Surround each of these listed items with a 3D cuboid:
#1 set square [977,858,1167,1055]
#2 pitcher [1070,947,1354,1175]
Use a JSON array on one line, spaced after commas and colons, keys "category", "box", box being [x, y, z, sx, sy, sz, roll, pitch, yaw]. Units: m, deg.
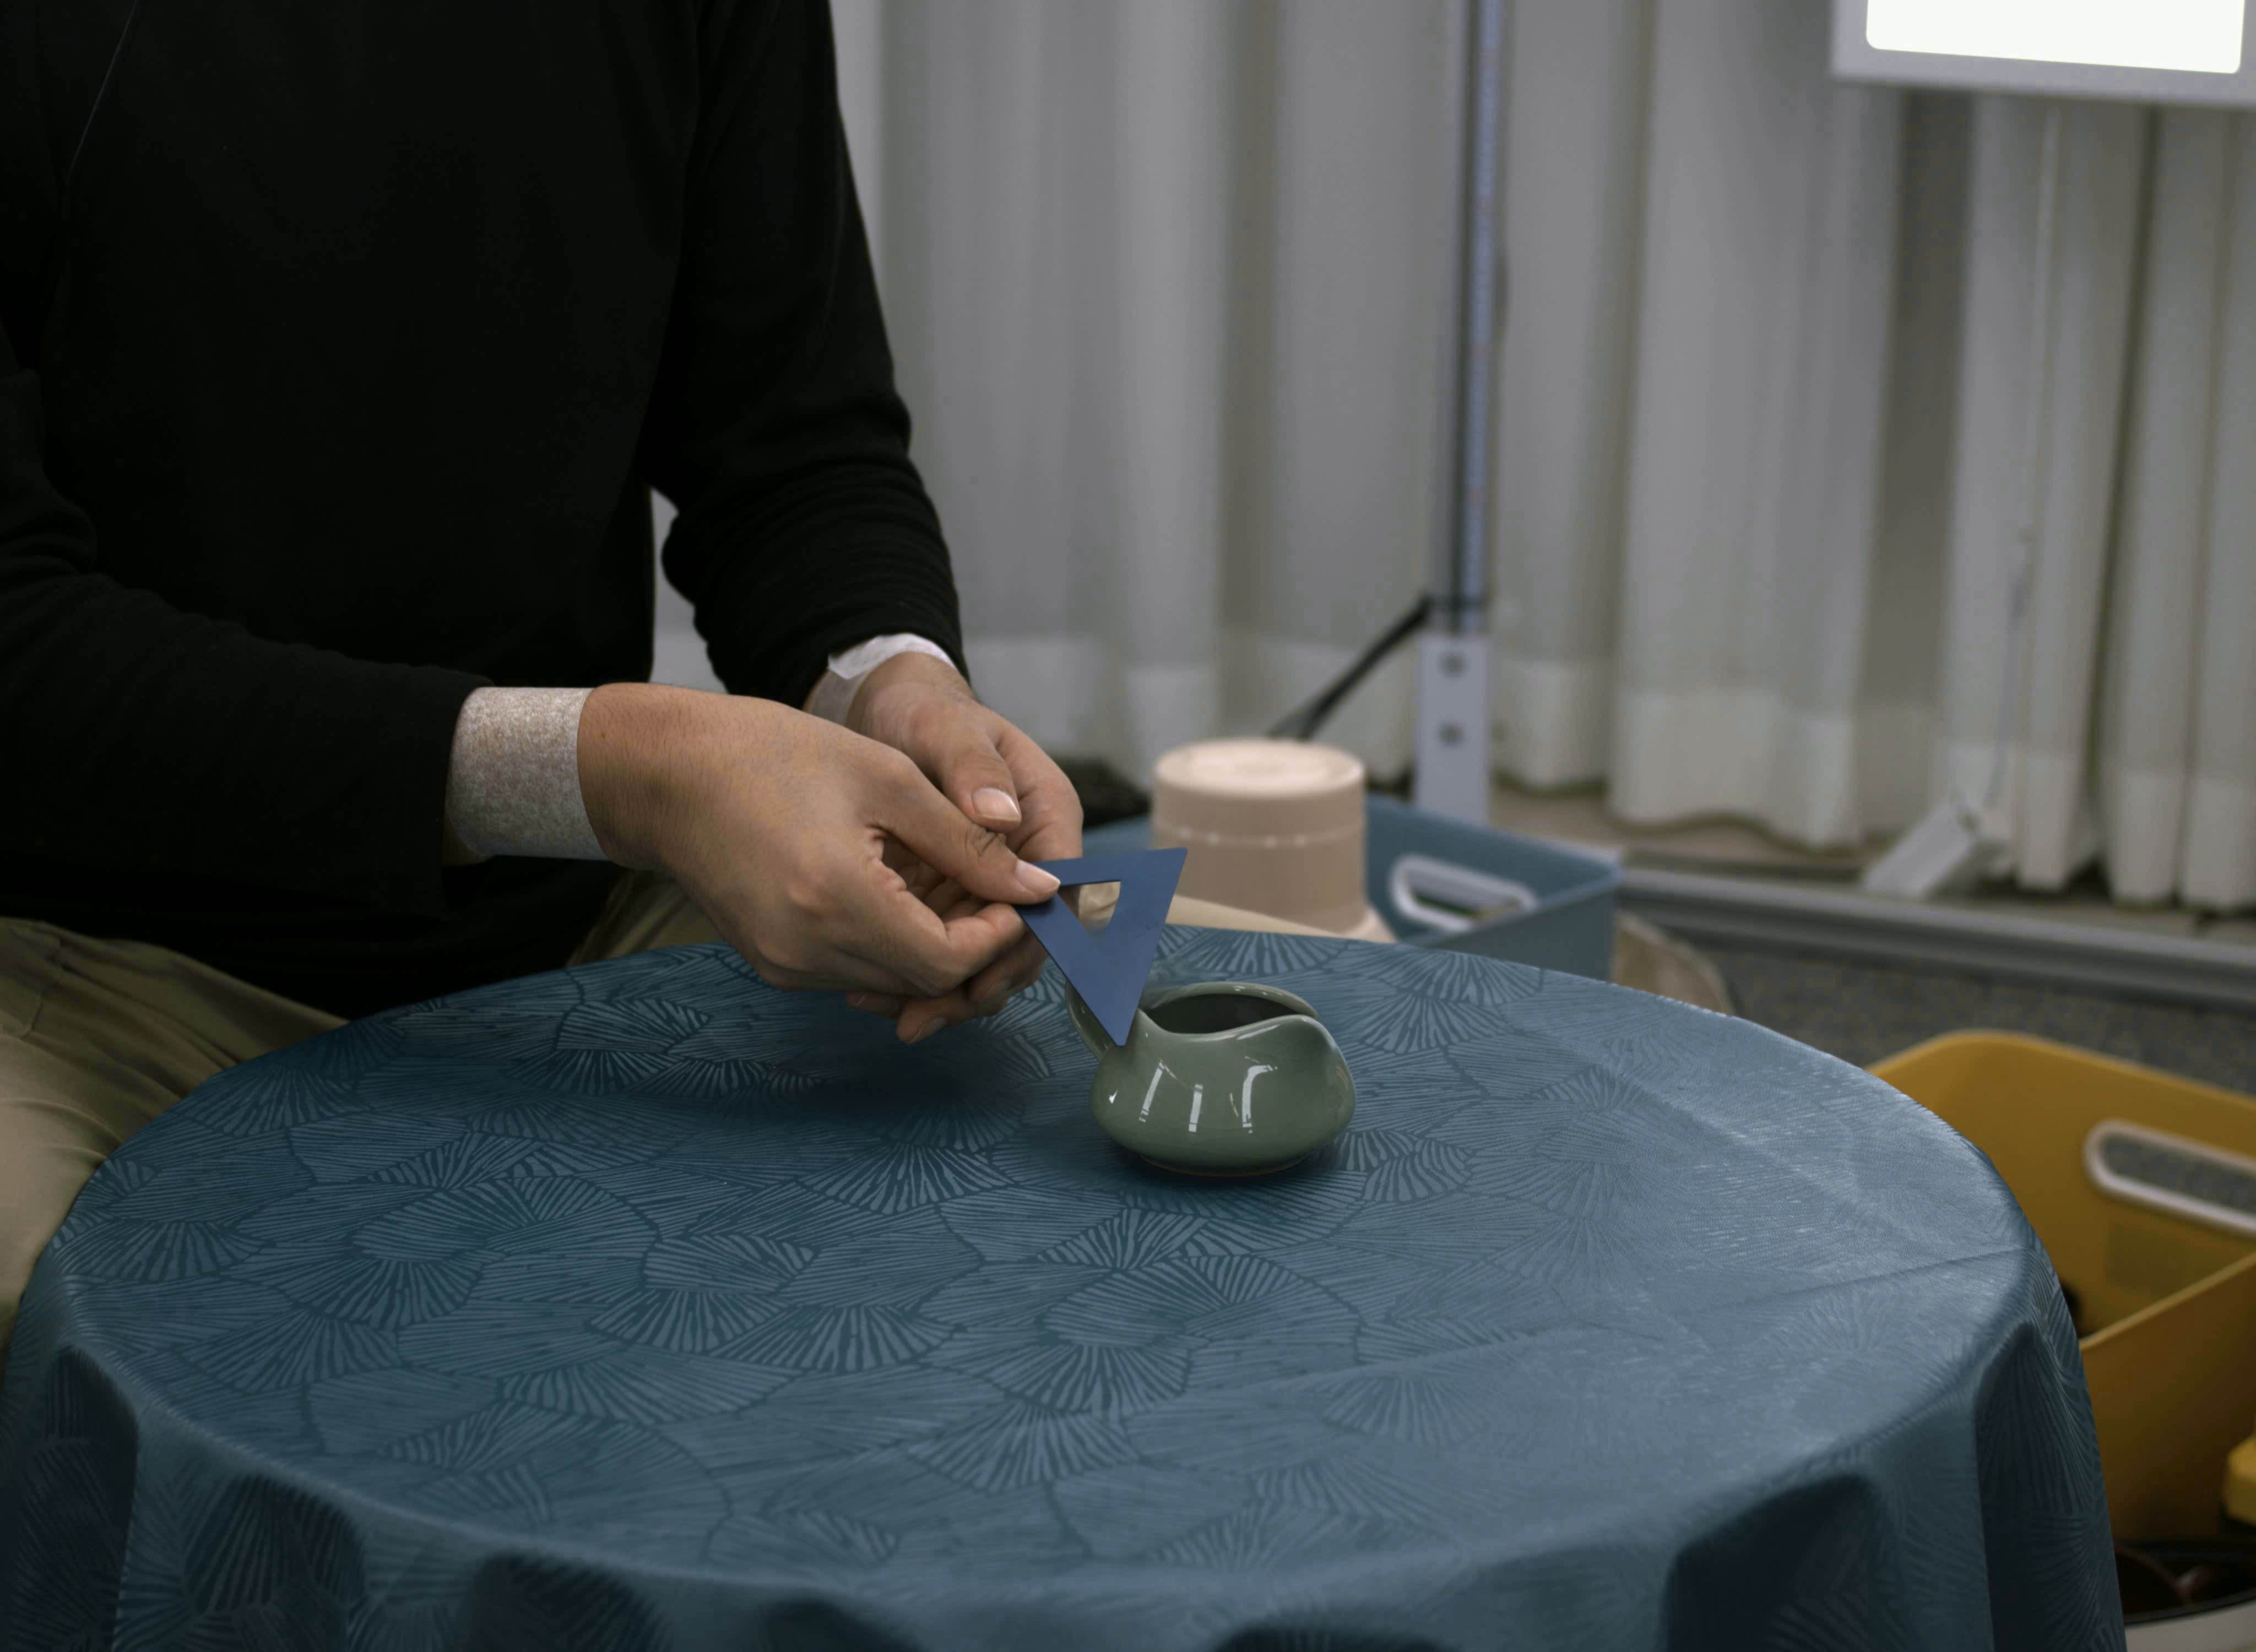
[{"category": "set square", "box": [-0.027, 0.036, 1.672, 0.061, 0.006, 0.131, 12, 28, 7]}, {"category": "pitcher", "box": [0.024, 0.074, 1.654, 0.111, 0.056, 0.084, 14, 18, 38]}]
